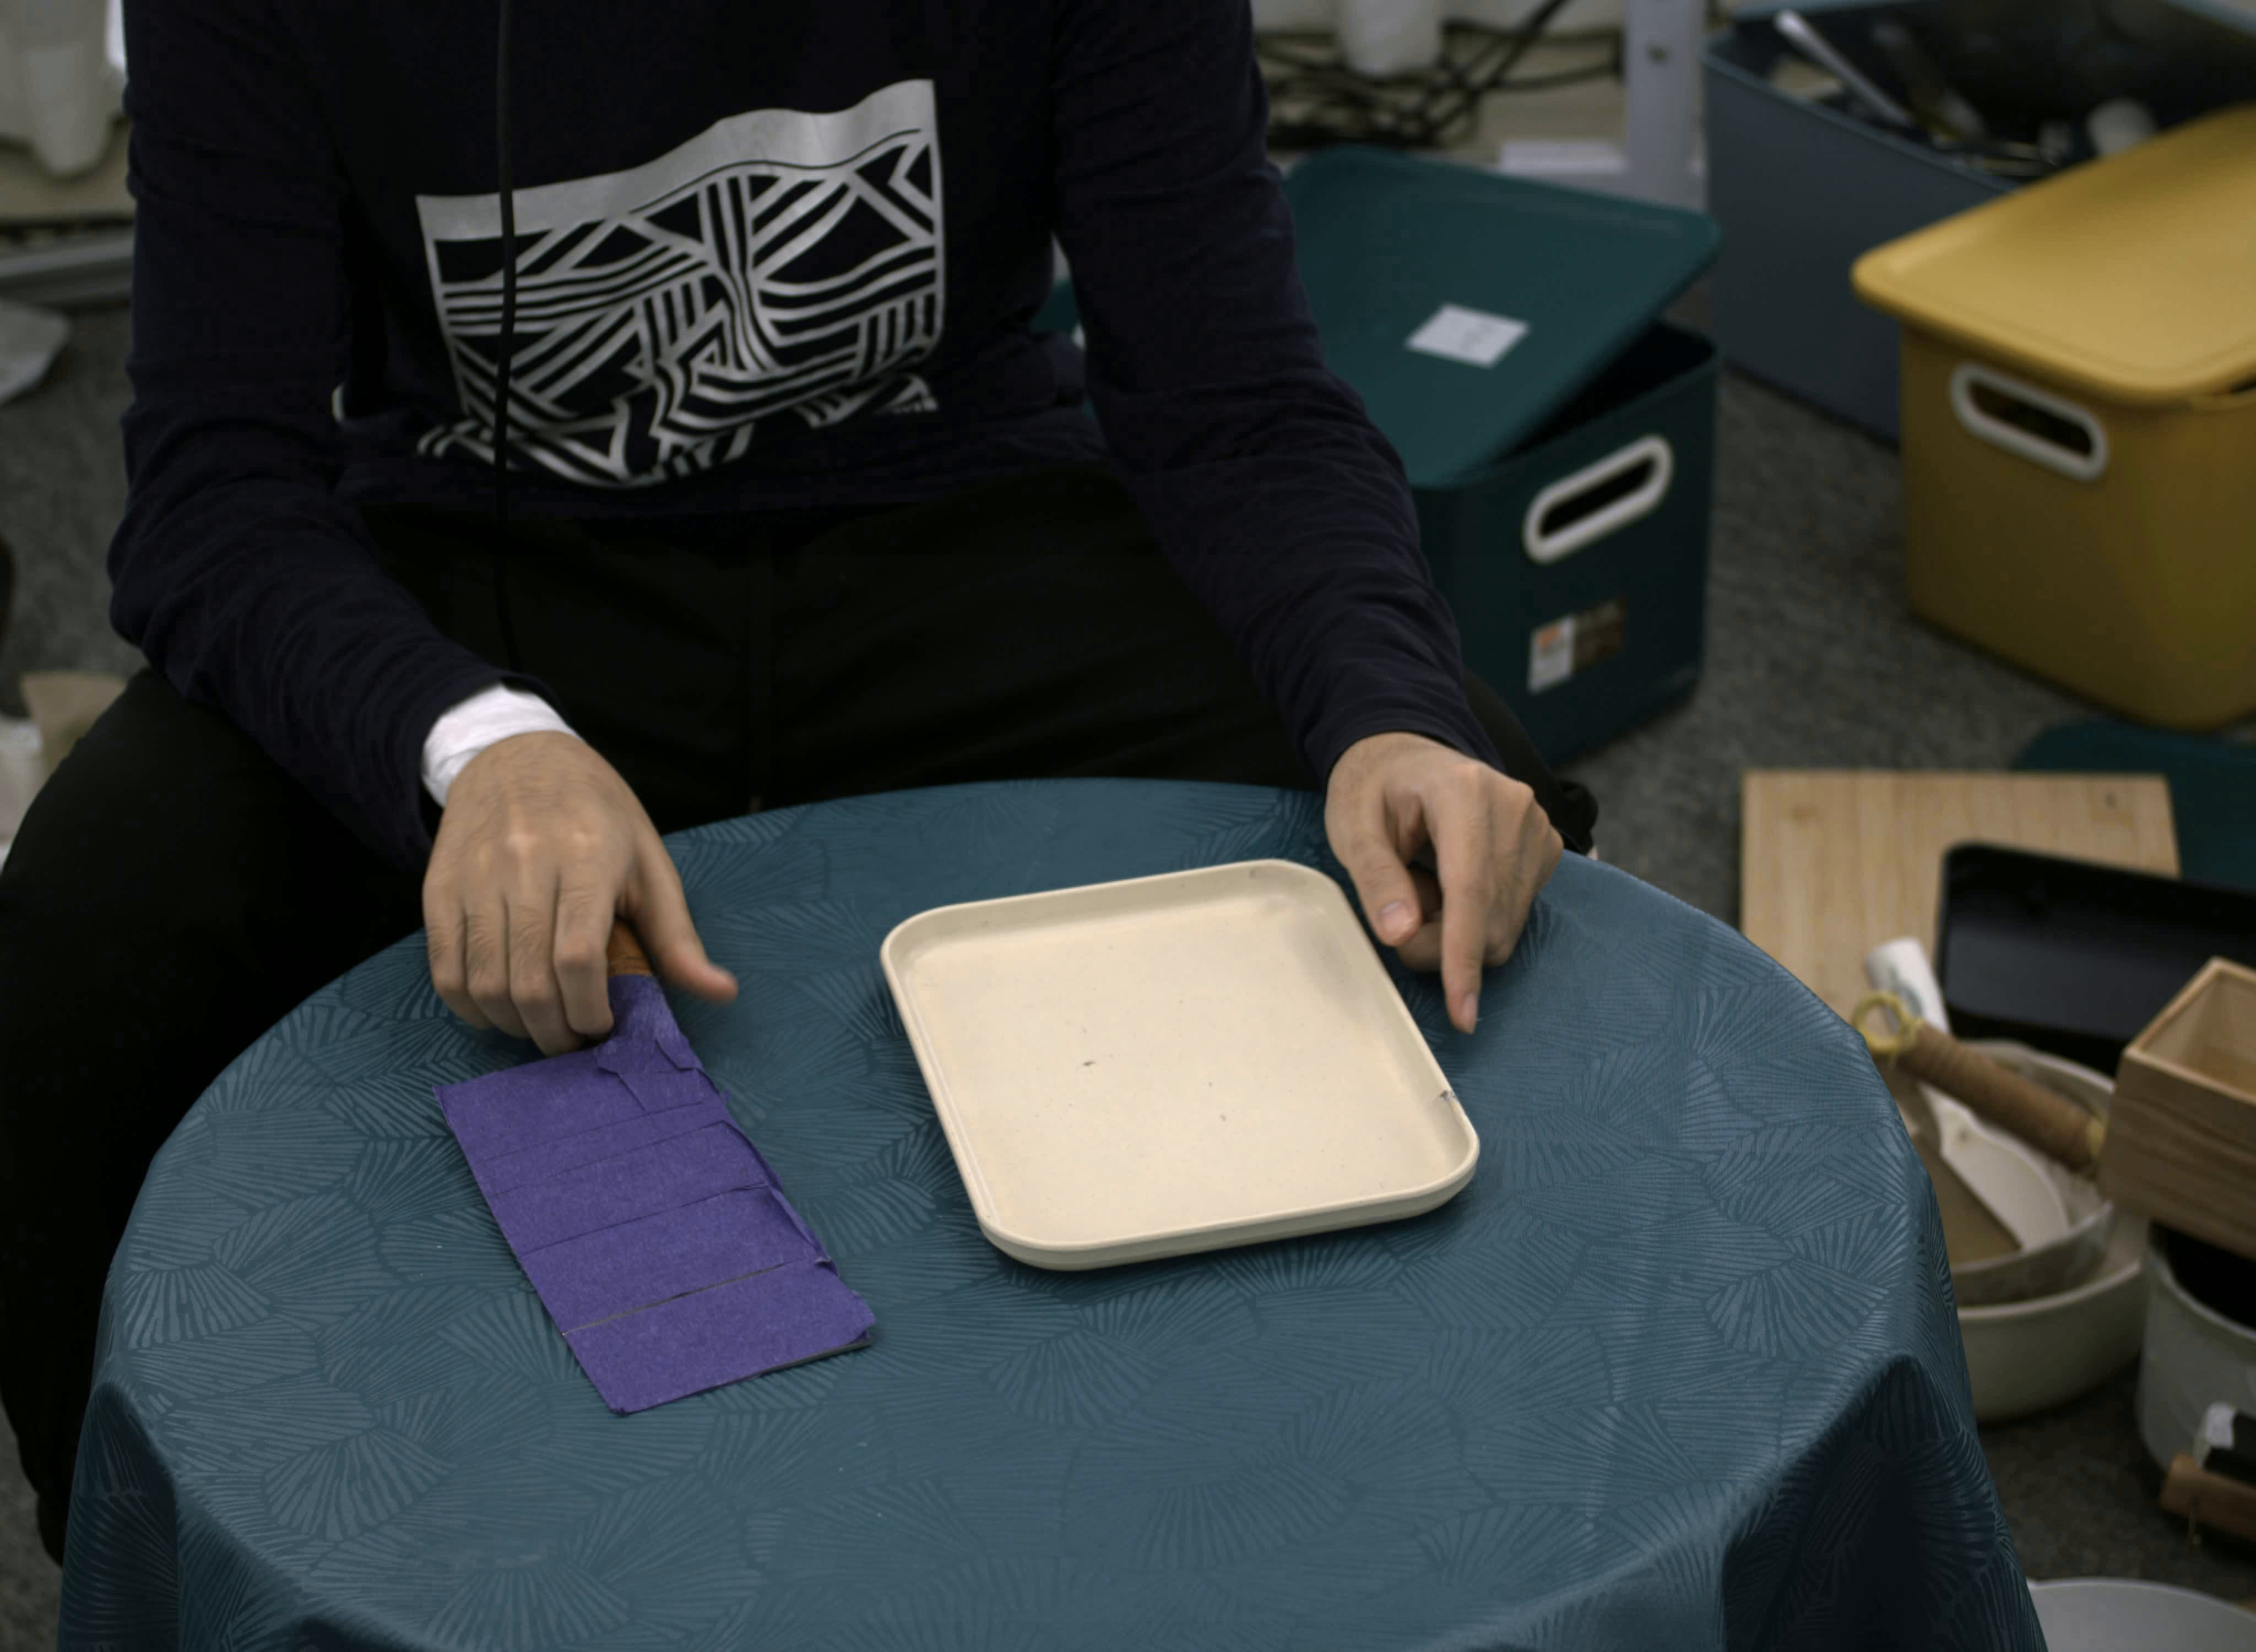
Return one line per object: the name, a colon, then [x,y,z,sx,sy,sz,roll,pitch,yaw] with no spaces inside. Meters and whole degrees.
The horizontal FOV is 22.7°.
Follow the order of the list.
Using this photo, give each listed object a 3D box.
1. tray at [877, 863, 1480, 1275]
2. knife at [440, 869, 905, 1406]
tray: [0.014,0.081,1.919,0.171,0.017,0.242,-9,28,-10]
knife: [-0.177,0.100,1.891,0.104,0.032,0.317,-13,29,-19]
